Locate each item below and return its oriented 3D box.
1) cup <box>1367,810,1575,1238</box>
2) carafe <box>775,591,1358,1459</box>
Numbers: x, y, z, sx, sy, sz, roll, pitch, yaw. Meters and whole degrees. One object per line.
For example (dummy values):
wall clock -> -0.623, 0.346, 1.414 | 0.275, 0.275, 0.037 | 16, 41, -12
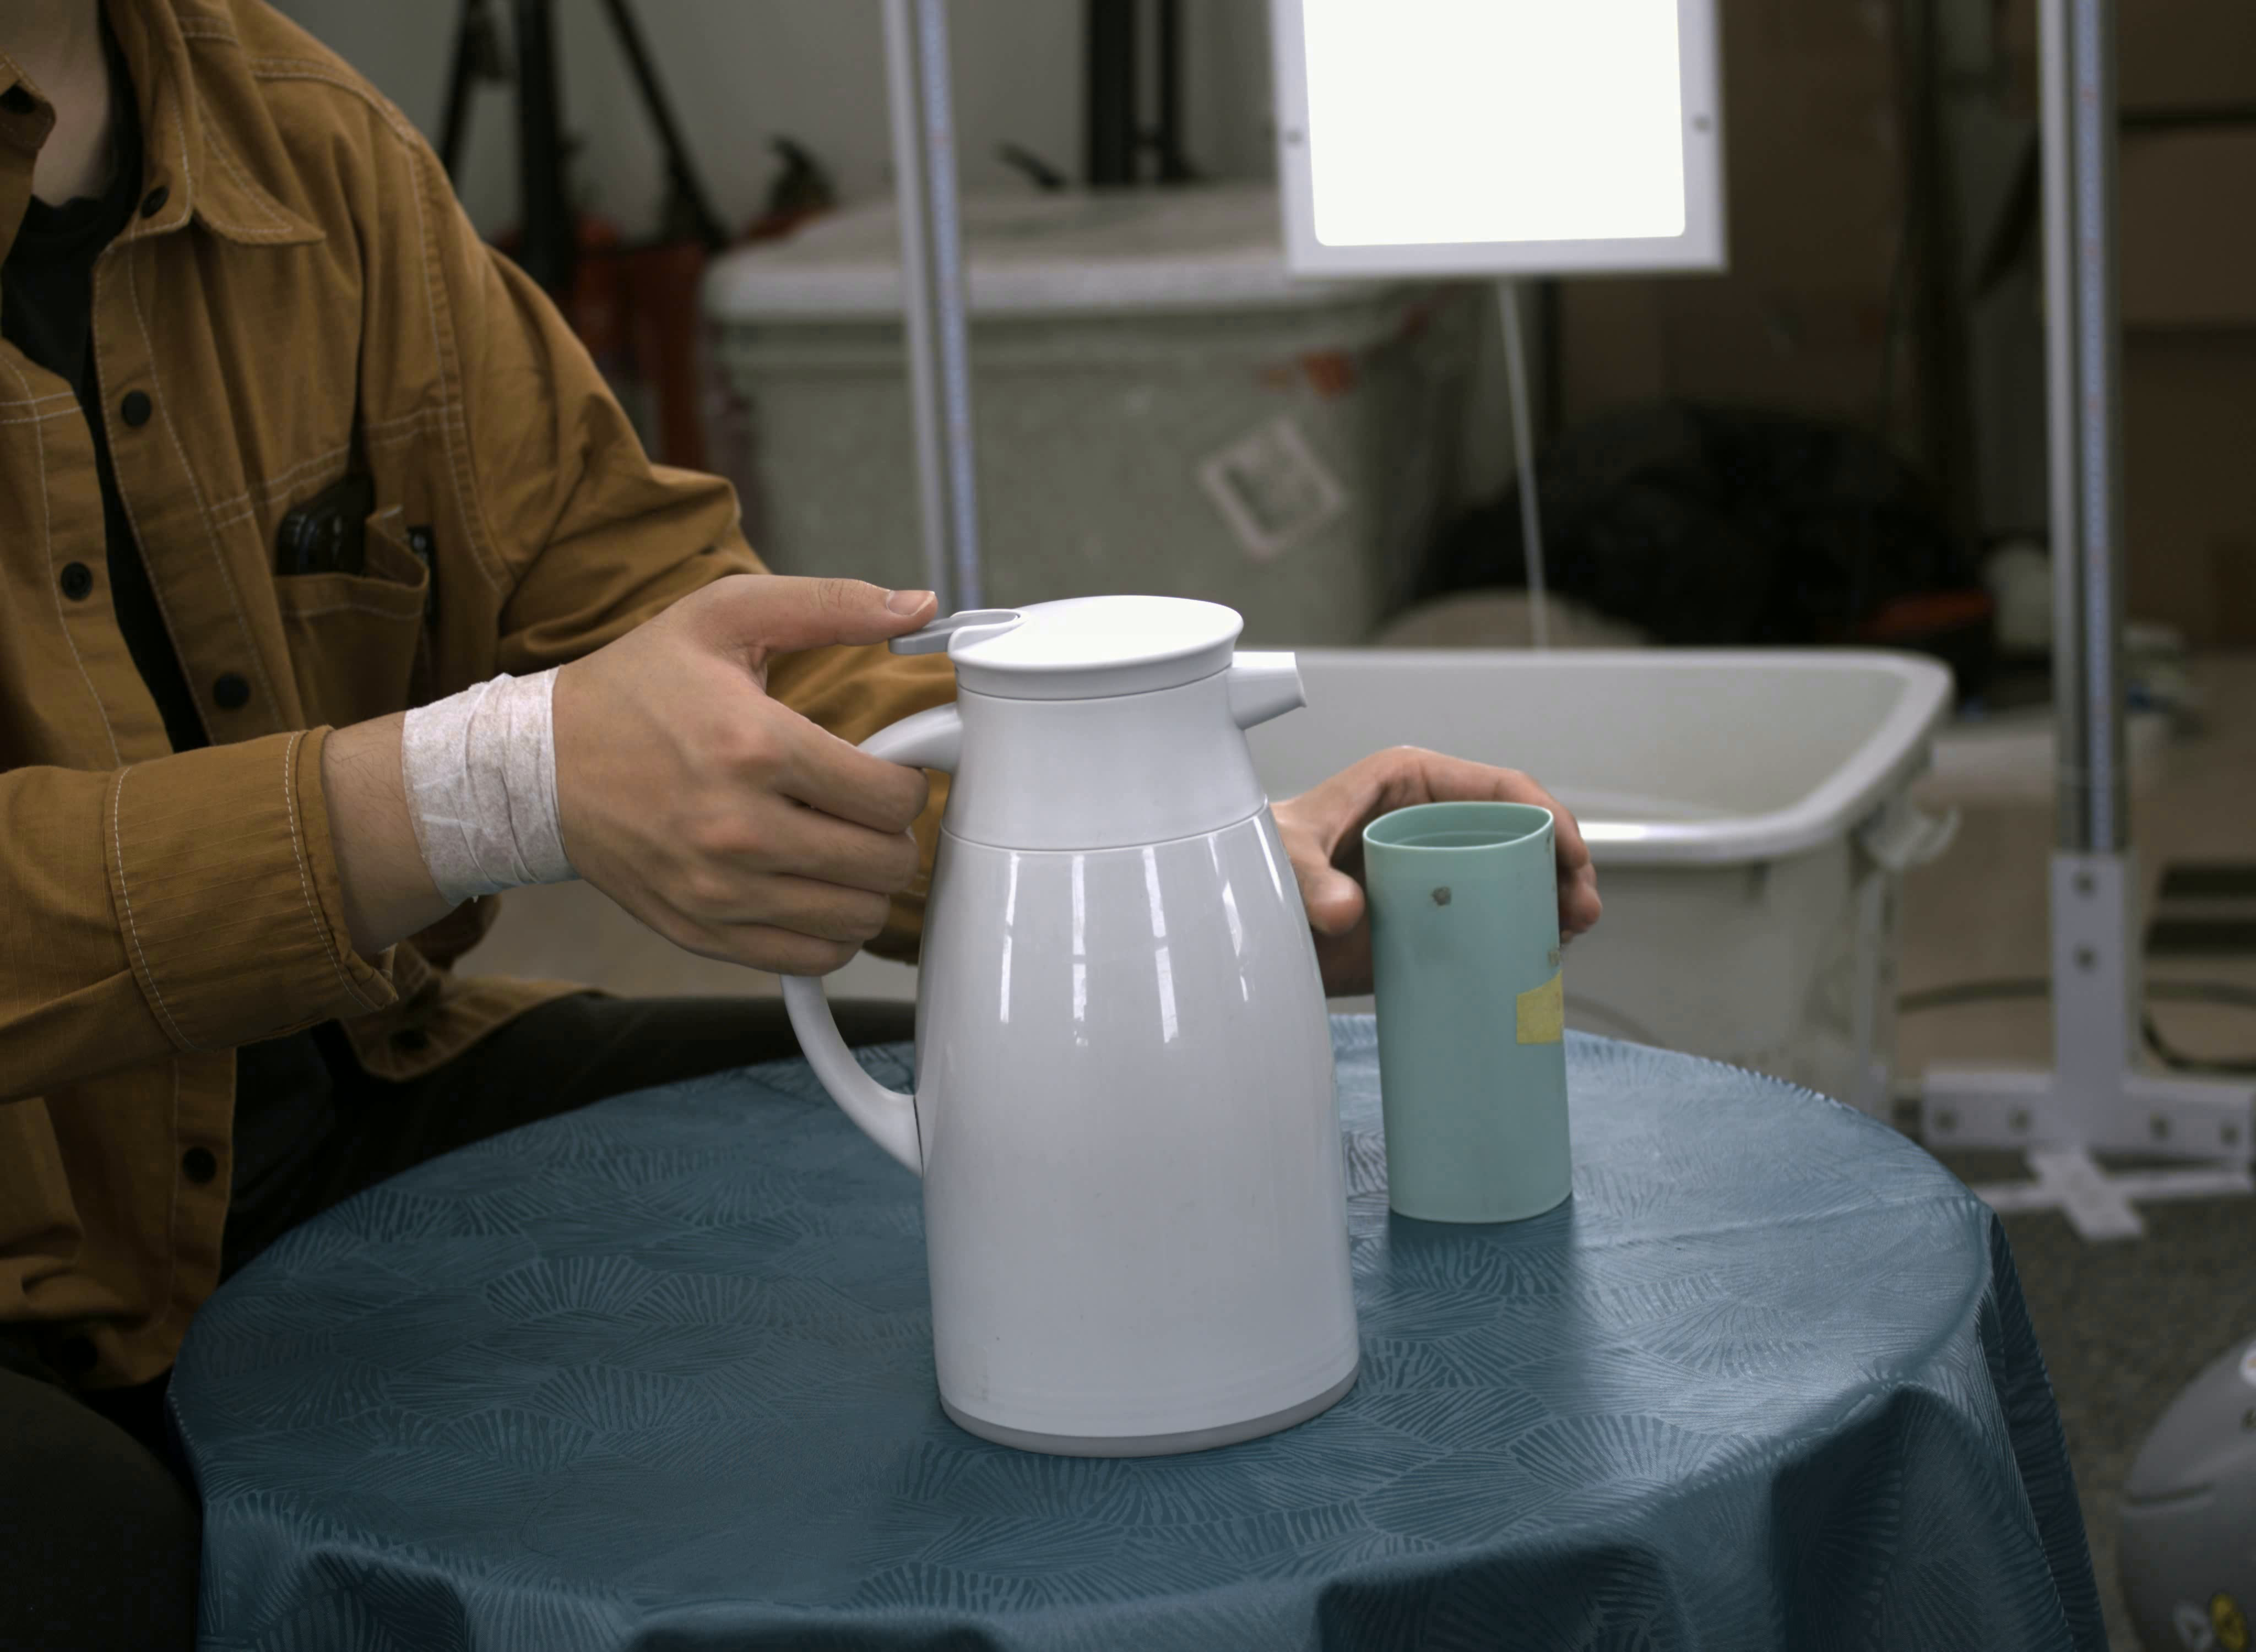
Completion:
cup -> 0.115, 0.065, 1.845 | 0.066, 0.133, 0.066 | -4, 14, 0
carafe -> -0.022, 0.055, 1.677 | 0.167, 0.249, 0.132 | -5, 14, 1
